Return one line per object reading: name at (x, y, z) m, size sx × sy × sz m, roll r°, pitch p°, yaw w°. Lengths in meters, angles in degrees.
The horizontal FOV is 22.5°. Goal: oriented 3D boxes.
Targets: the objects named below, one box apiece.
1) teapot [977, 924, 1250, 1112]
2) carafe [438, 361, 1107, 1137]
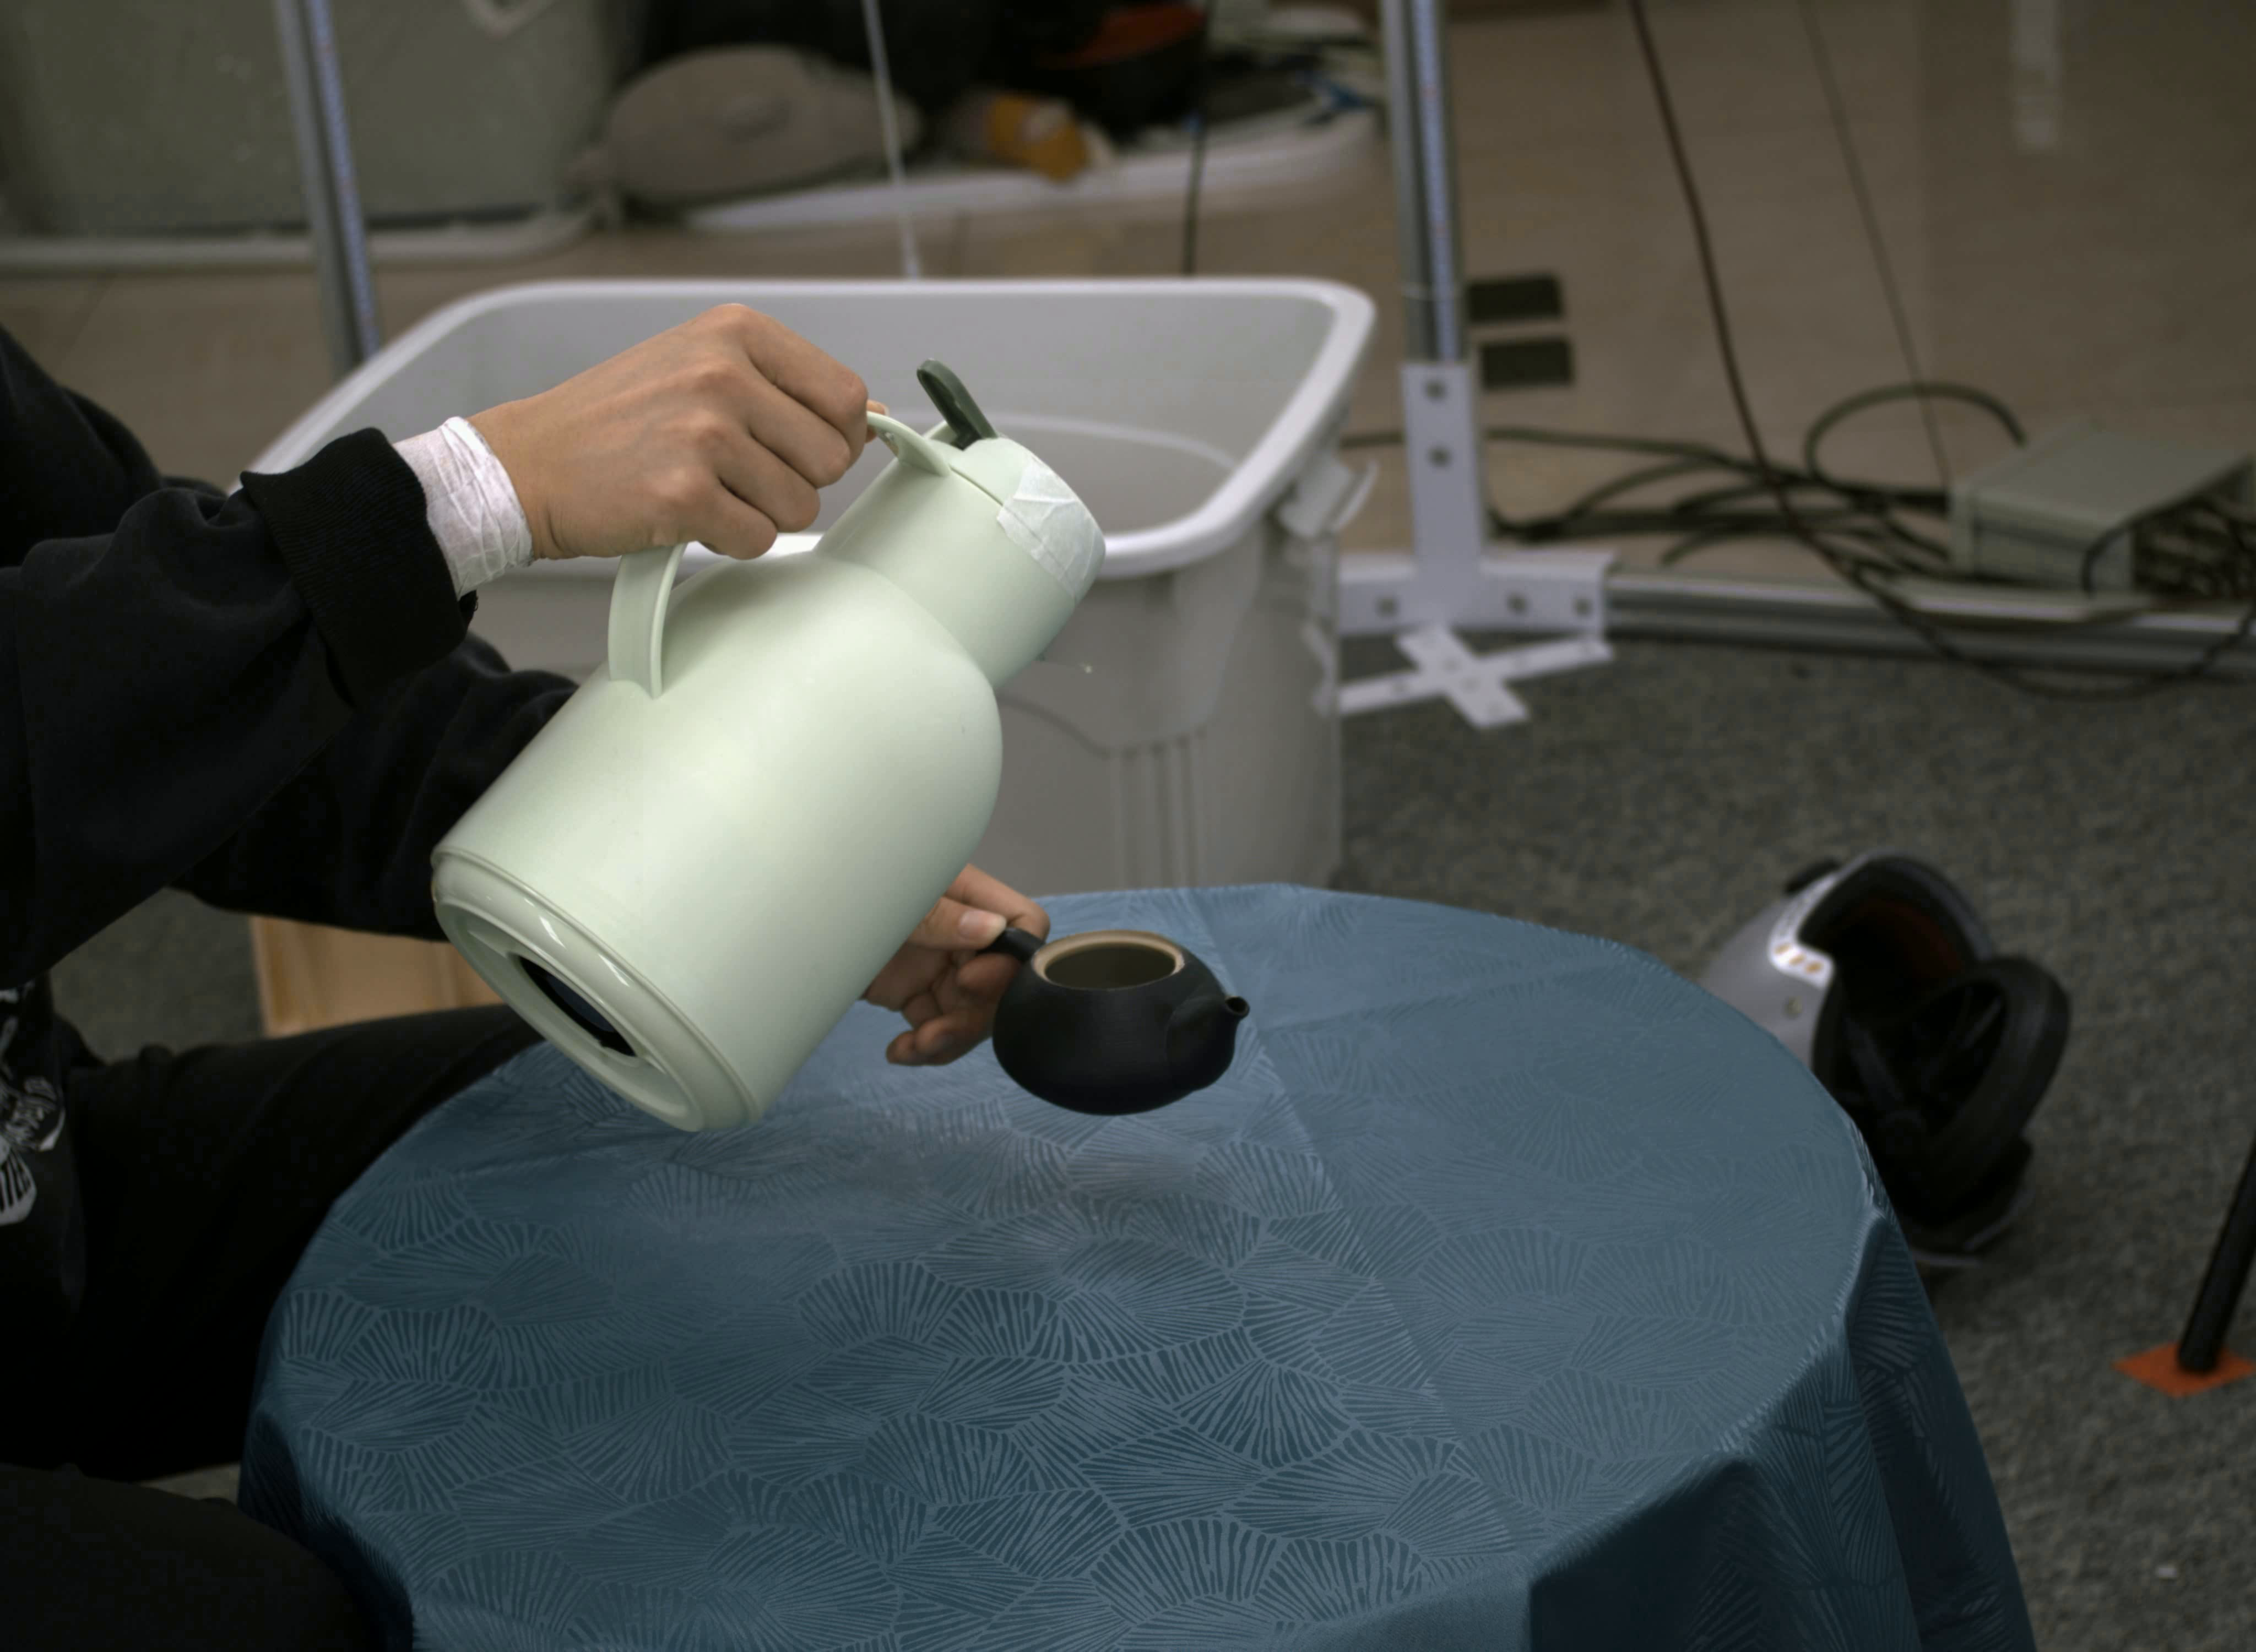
teapot at (-0.006, 0.073, 2.117) m, size 0.132 × 0.054 × 0.090 m, roll 17°, pitch 28°, yaw 38°
carafe at (-0.119, -0.035, 1.953) m, size 0.143 × 0.189 × 0.255 m, roll 25°, pitch 73°, yaw 47°
